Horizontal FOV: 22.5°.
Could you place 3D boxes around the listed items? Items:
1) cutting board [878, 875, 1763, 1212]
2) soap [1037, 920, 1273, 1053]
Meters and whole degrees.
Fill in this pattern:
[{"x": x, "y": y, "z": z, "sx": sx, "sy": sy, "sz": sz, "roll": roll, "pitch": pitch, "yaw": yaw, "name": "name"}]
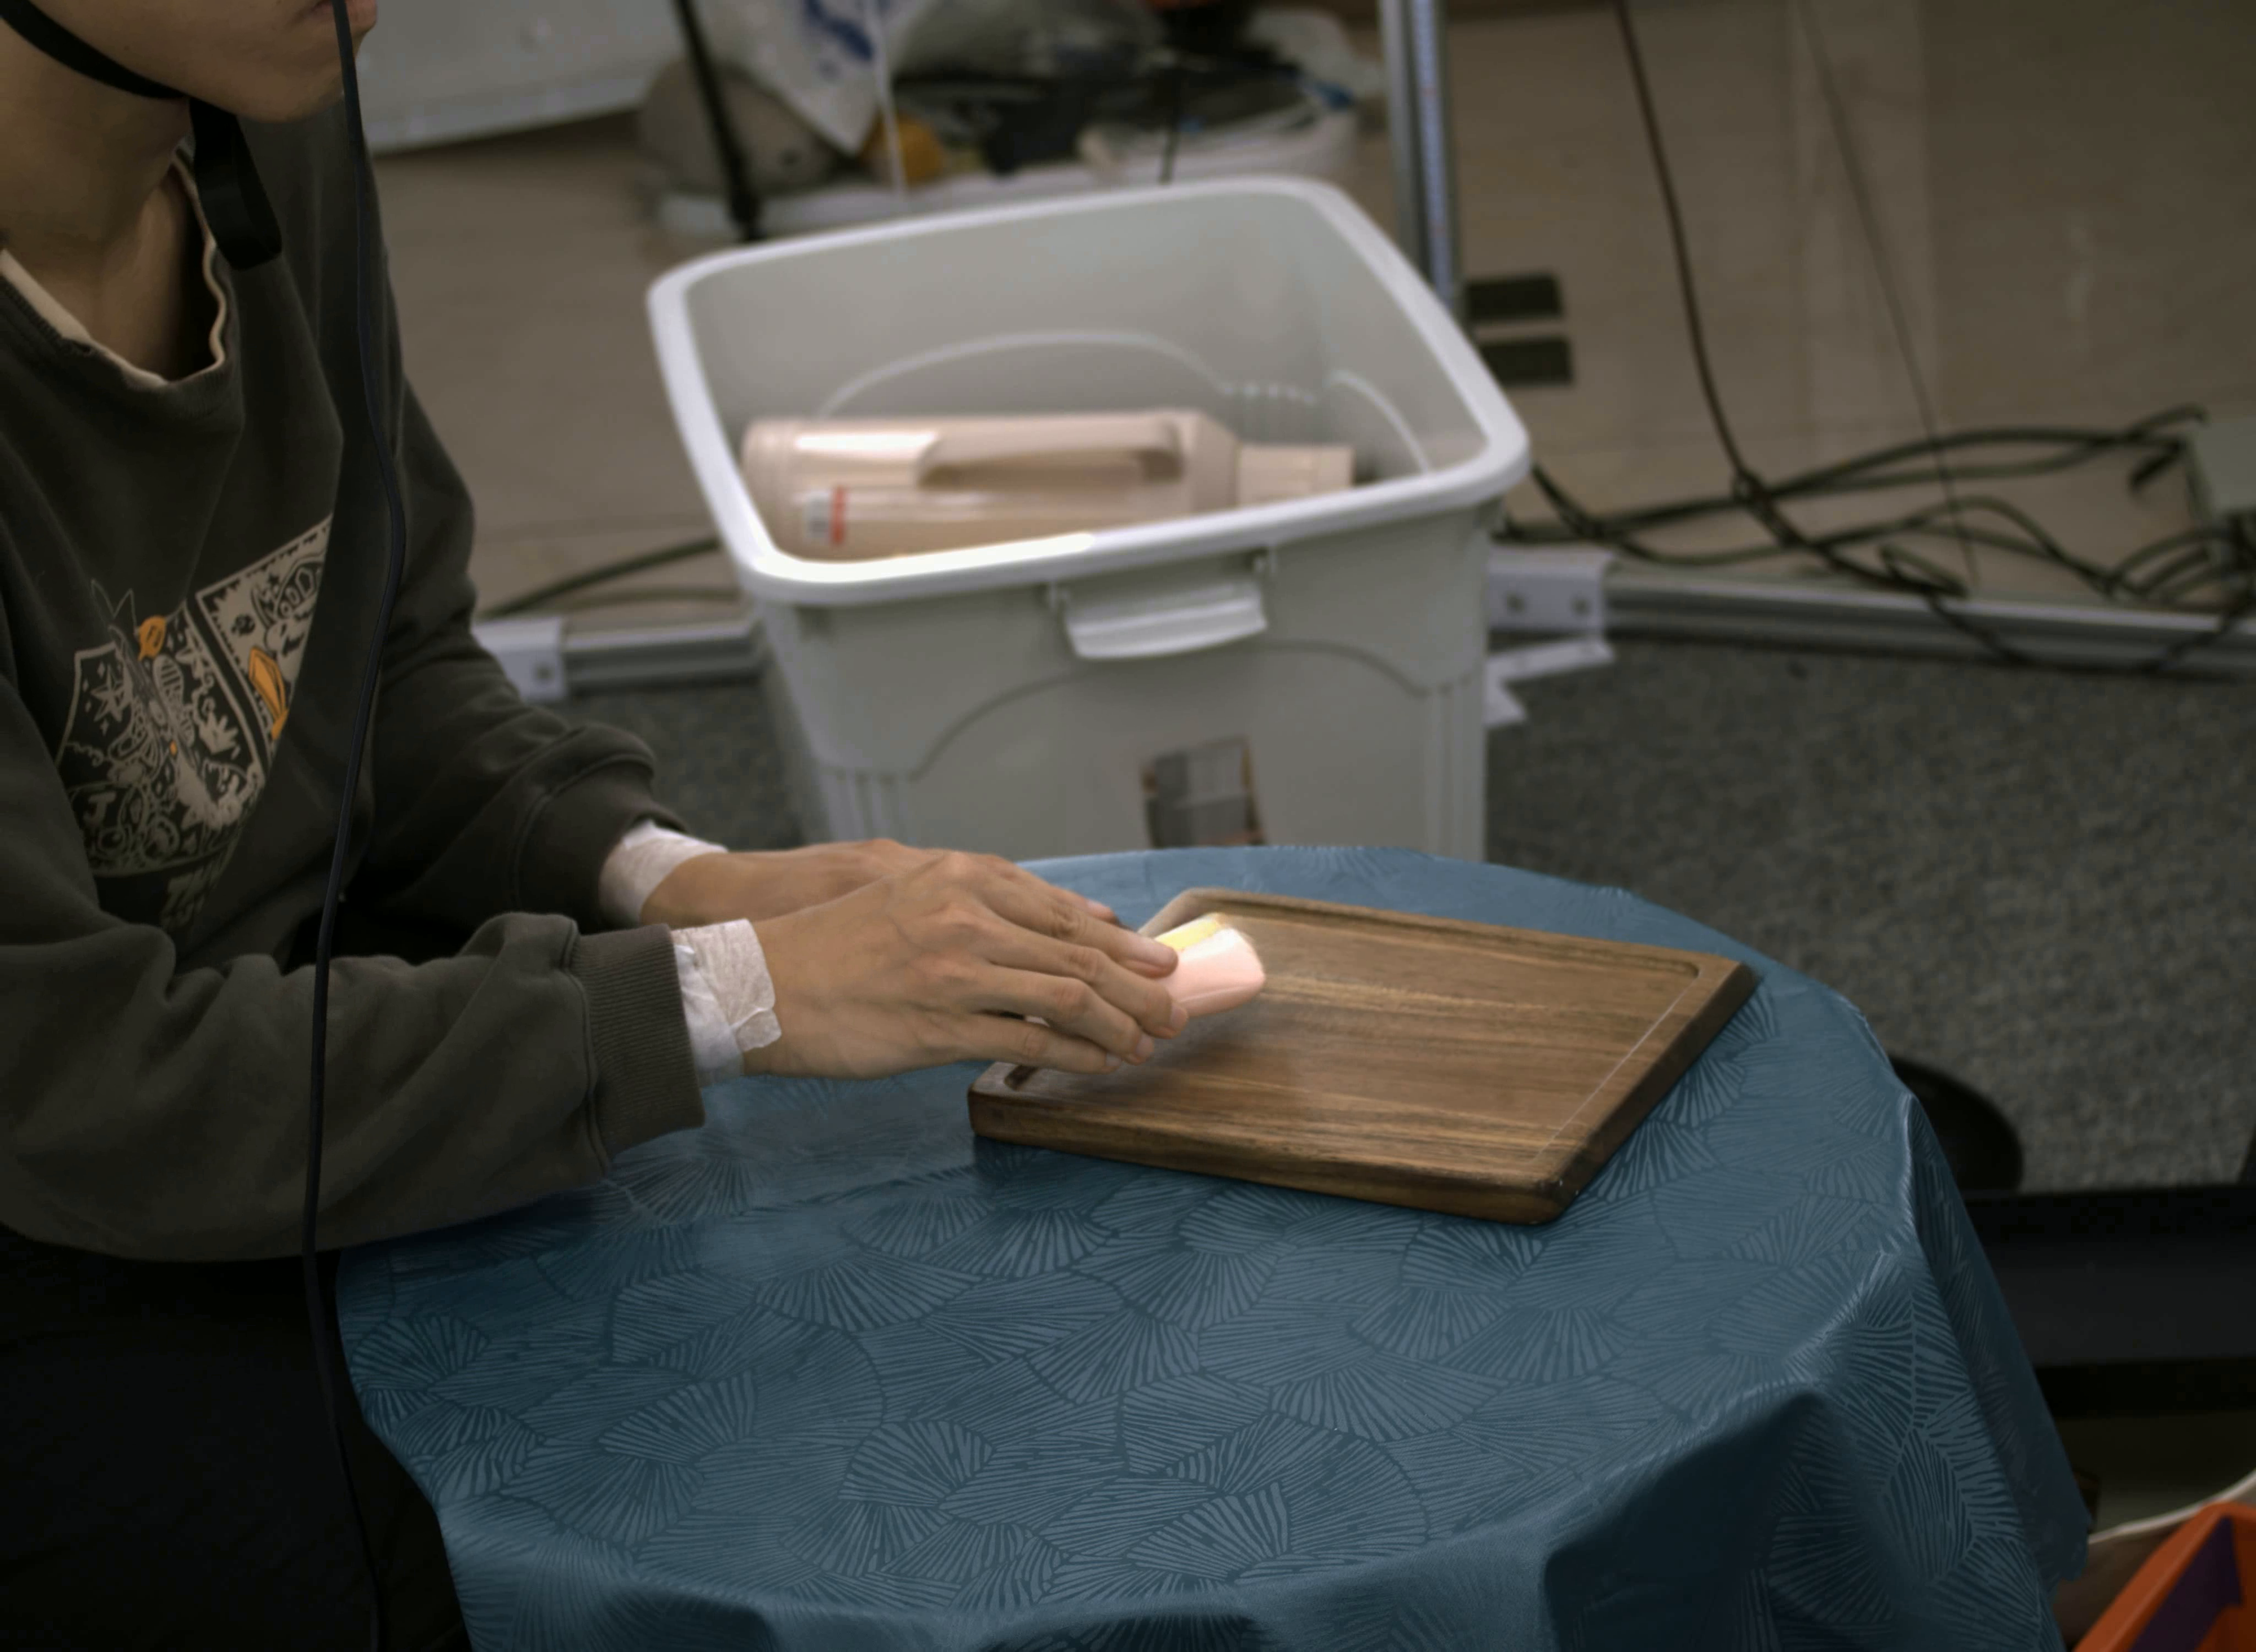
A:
[{"x": 0.055, "y": 0.075, "z": 2.244, "sx": 0.350, "sy": 0.023, "sz": 0.198, "roll": 8, "pitch": 29, "yaw": 29, "name": "cutting board"}, {"x": 0.011, "y": 0.062, "z": 2.210, "sx": 0.094, "sy": 0.031, "sz": 0.050, "roll": -19, "pitch": 28, "yaw": -27, "name": "soap"}]
